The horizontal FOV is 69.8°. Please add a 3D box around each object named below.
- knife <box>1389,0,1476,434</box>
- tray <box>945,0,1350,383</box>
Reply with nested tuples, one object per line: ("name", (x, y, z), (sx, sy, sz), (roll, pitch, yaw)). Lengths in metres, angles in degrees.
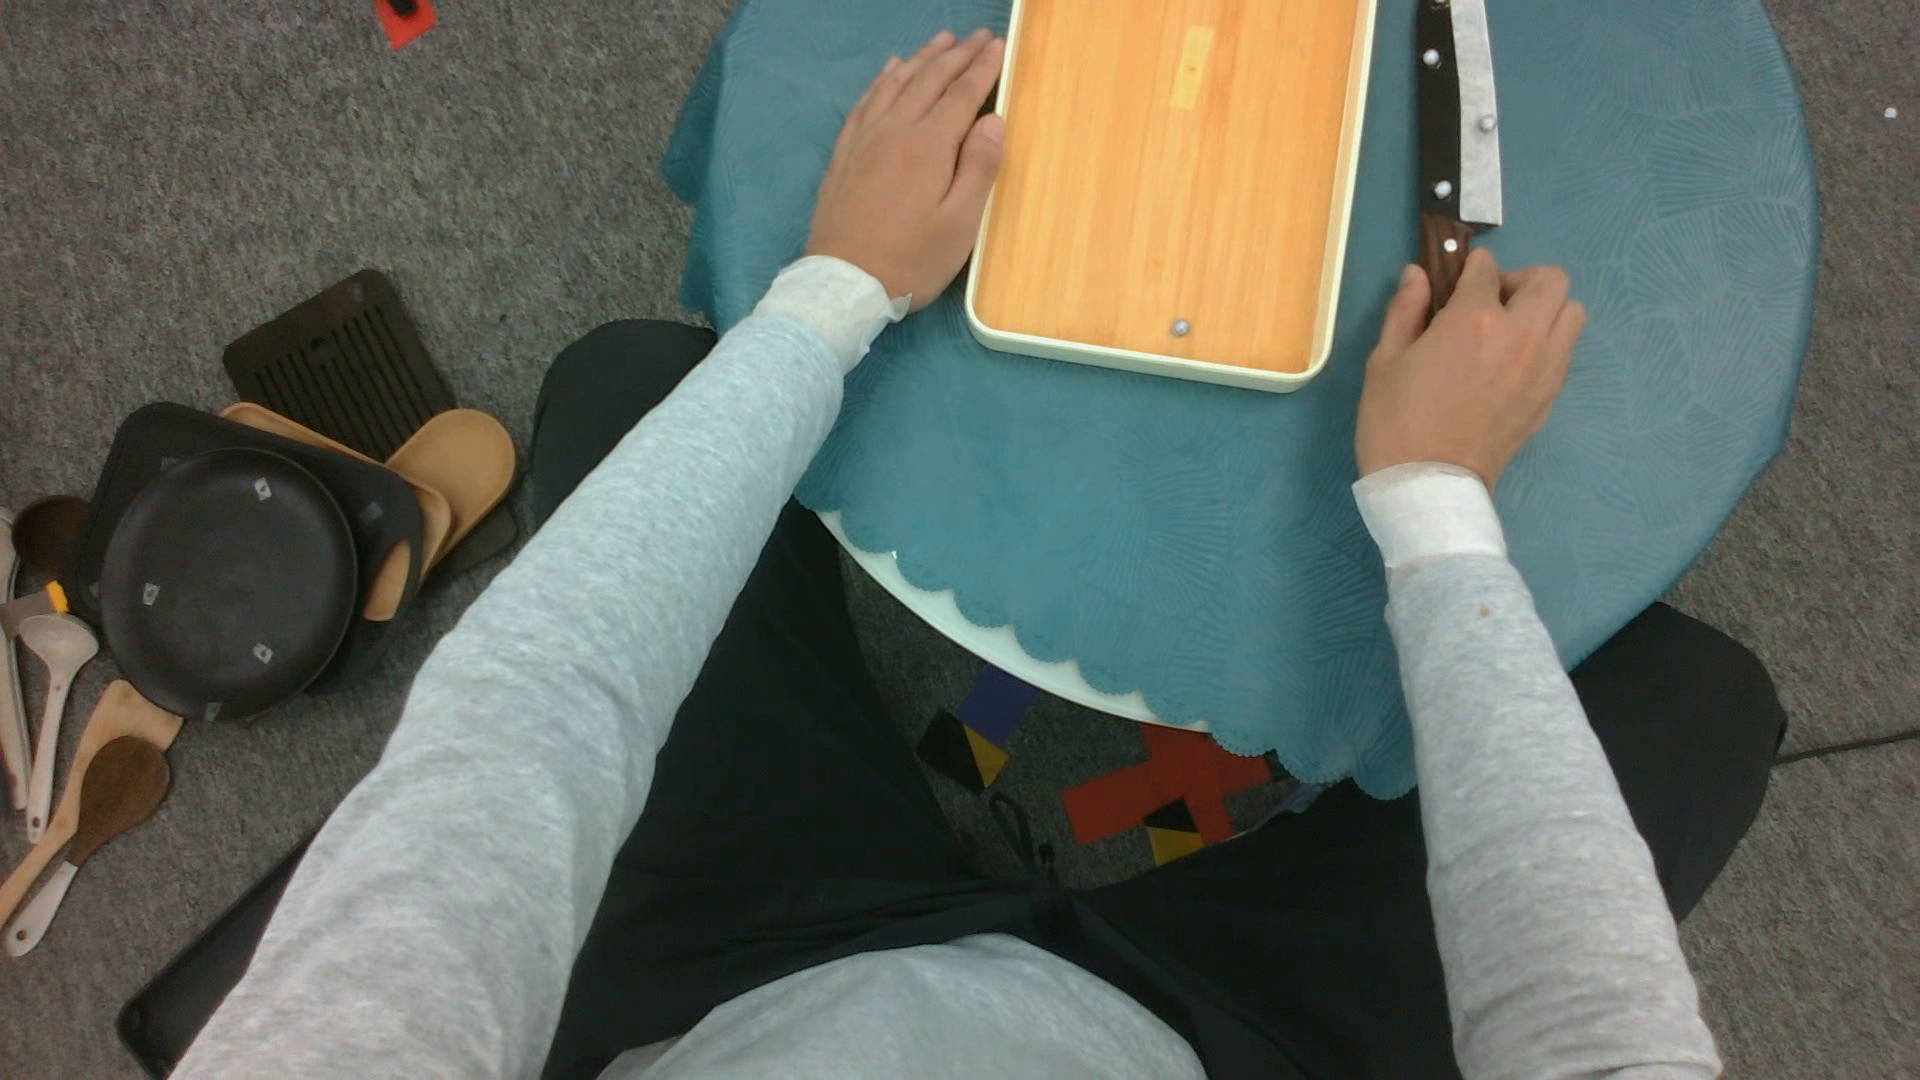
("knife", (0.254, -0.195, 0.741), (0.050, 0.020, 0.289), (6, 77, -6))
("tray", (0.106, -0.241, 0.743), (0.191, 0.027, 0.301), (9, 80, 2))
